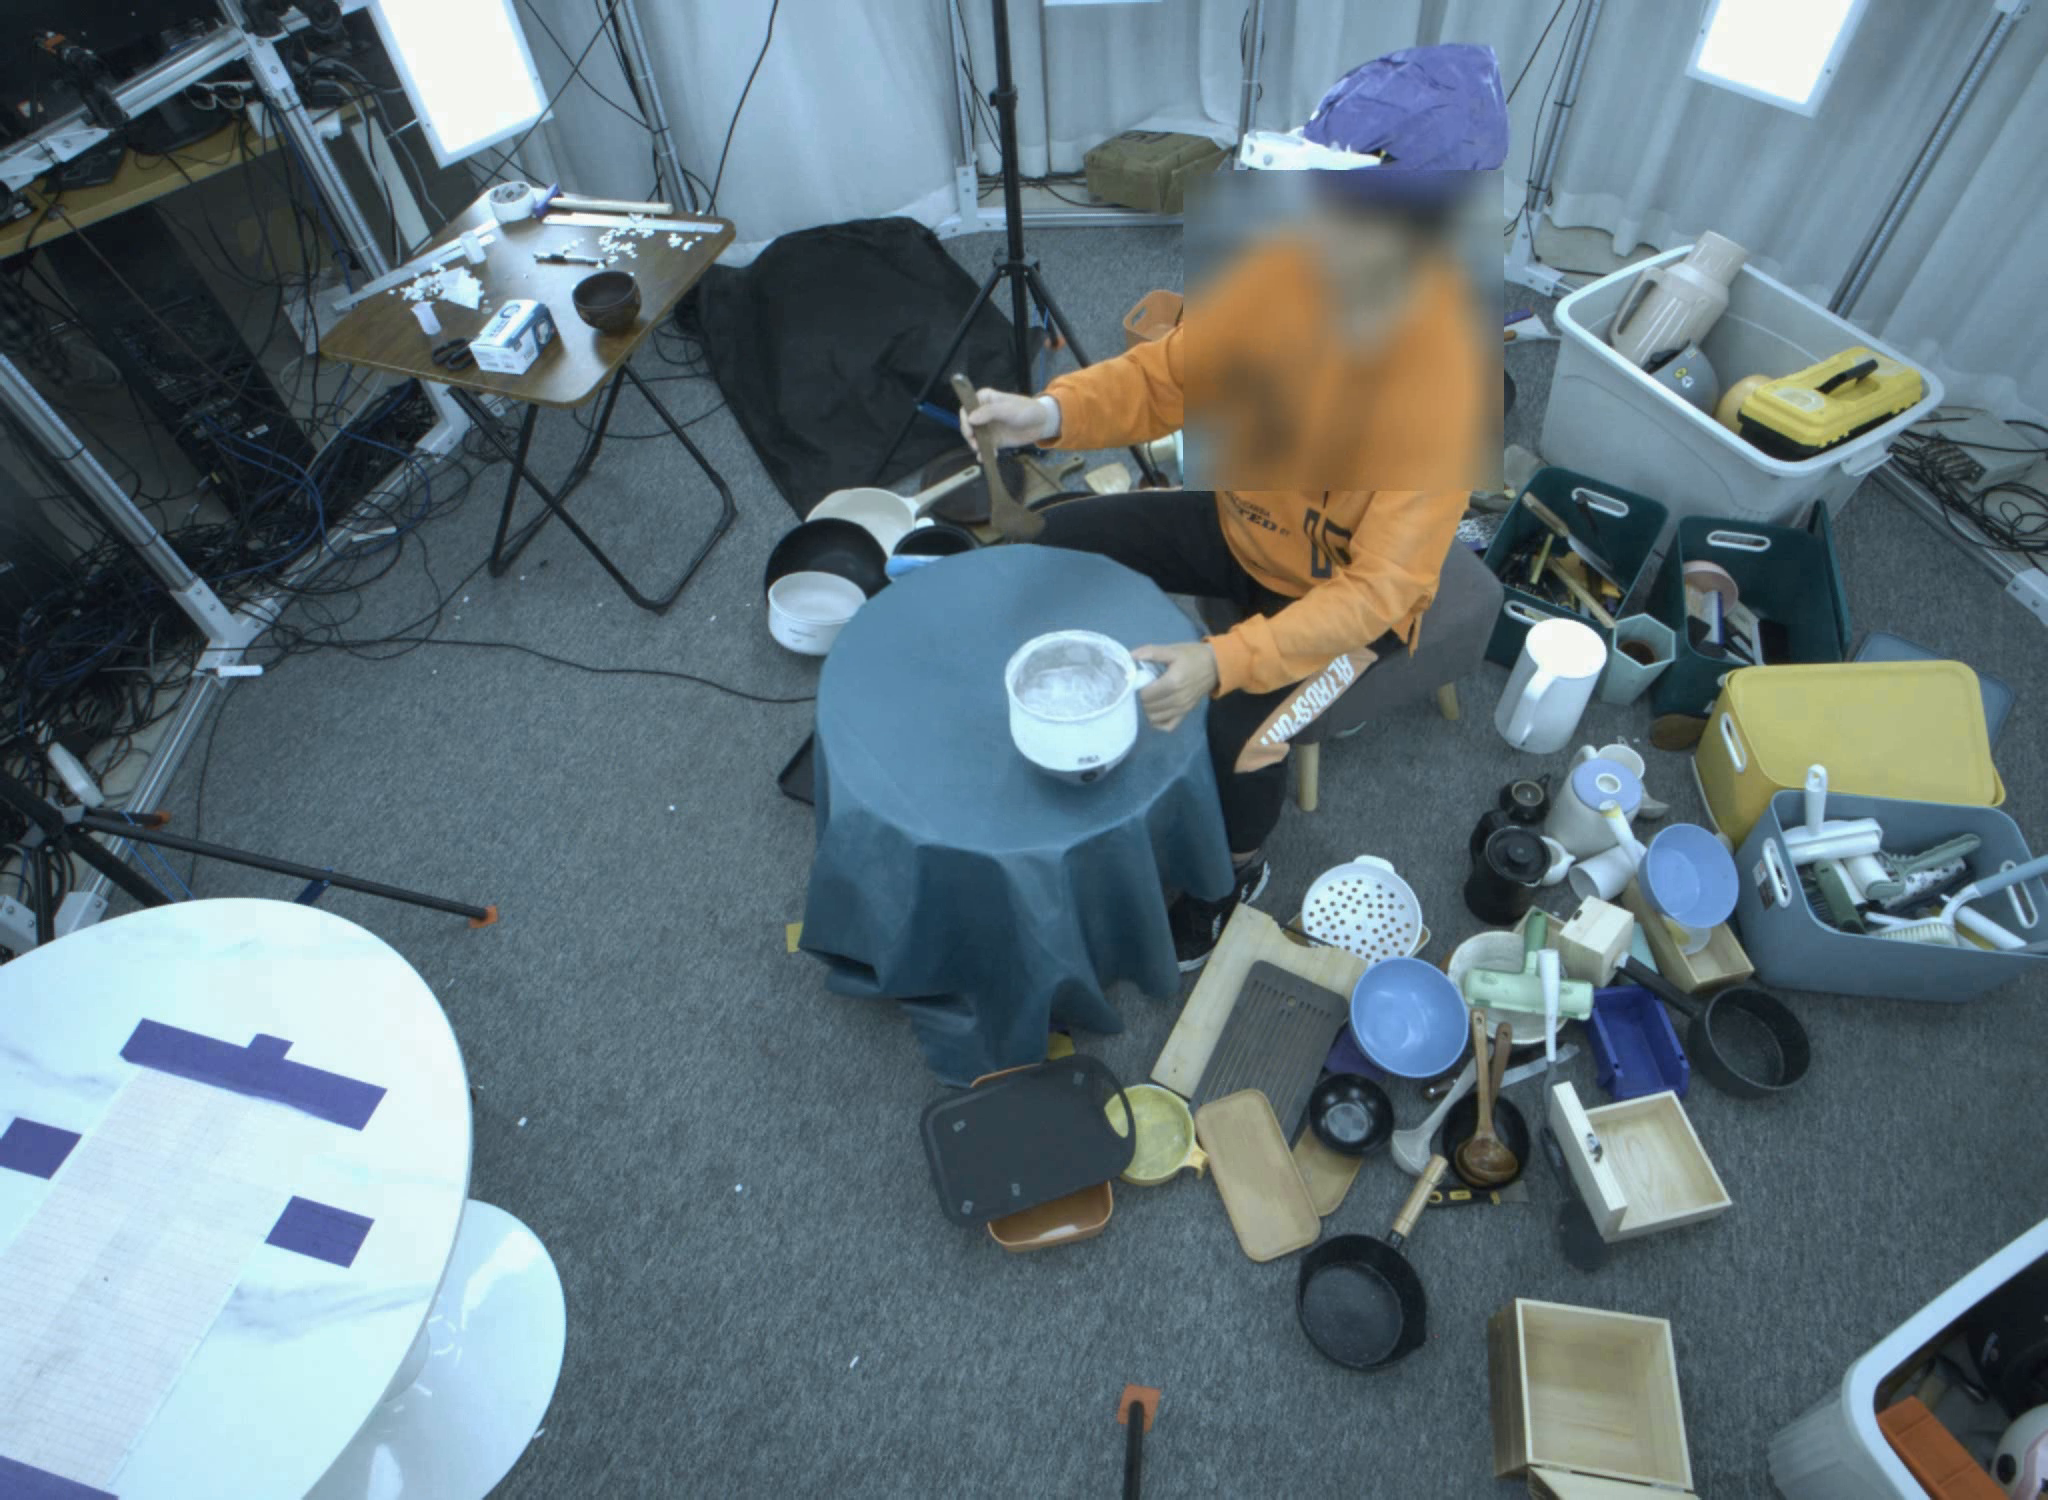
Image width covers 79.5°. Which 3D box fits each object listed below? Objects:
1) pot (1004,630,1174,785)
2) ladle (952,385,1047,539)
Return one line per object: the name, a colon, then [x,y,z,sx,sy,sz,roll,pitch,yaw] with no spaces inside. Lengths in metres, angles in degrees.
pot: [0.093,-0.065,1.697,0.235,0.138,0.175,-13,49,-7]
ladle: [-0.042,-0.410,1.664,0.077,0.070,0.273,-14,82,-32]
